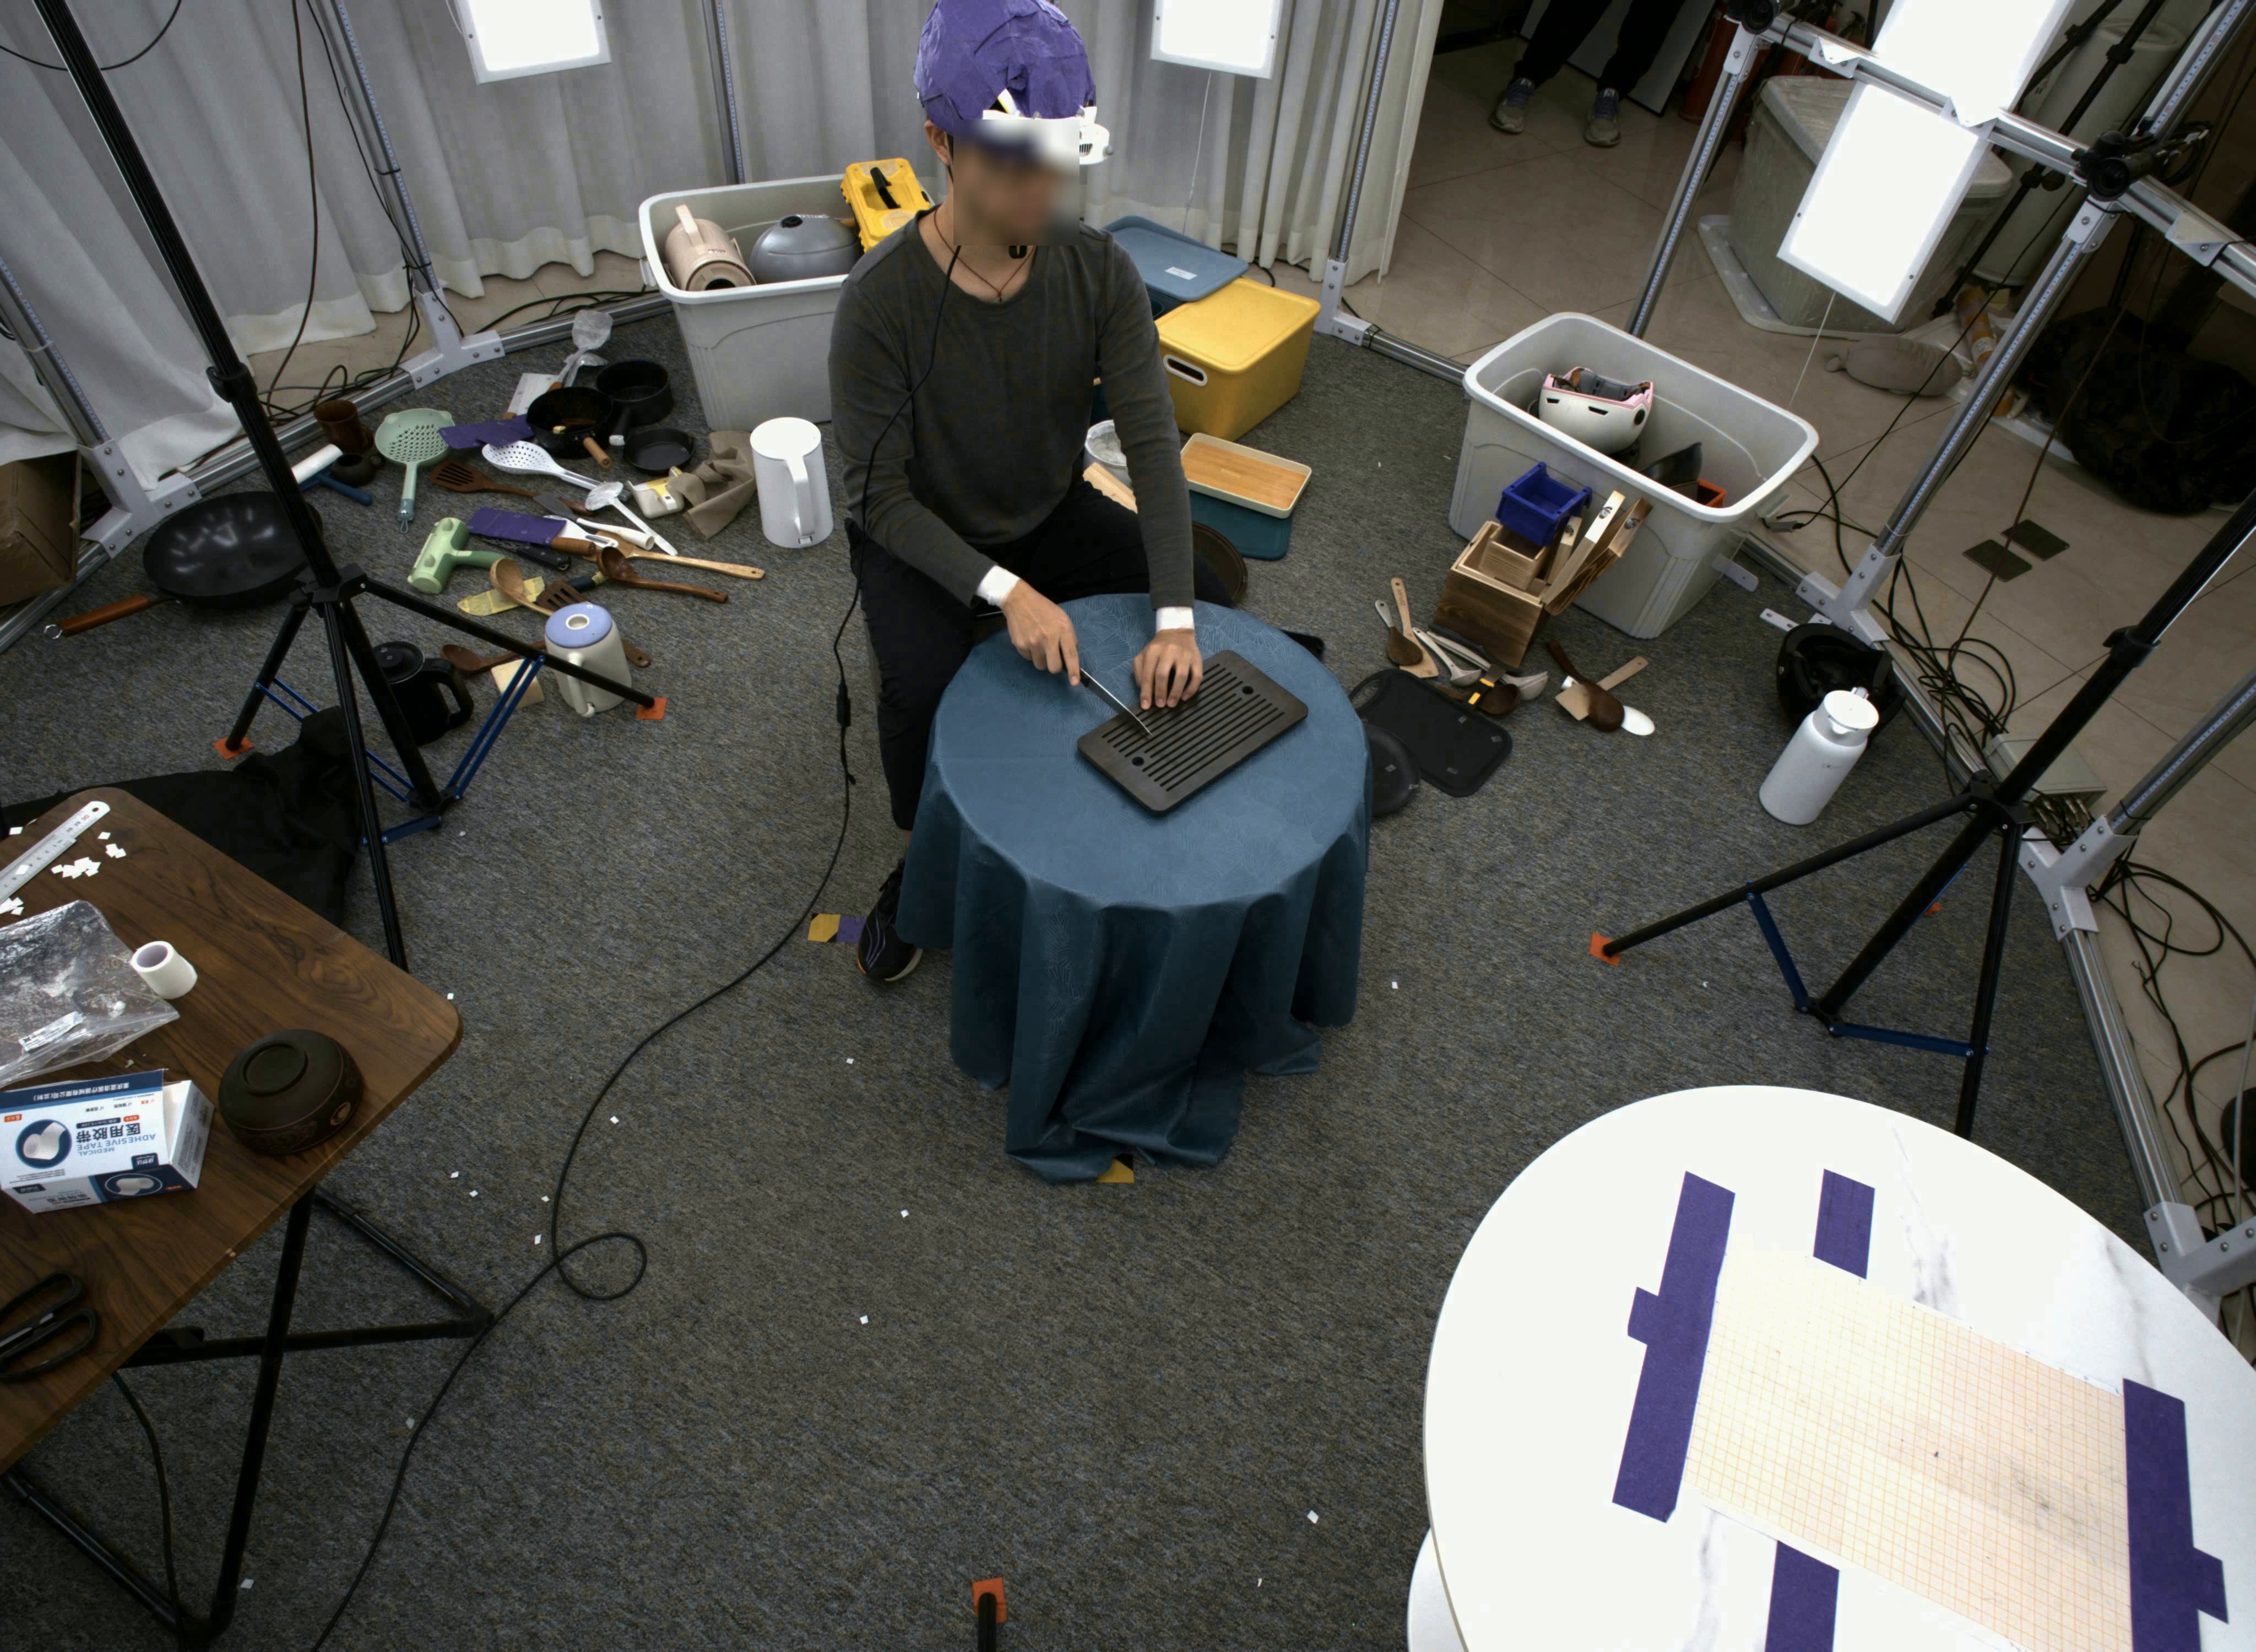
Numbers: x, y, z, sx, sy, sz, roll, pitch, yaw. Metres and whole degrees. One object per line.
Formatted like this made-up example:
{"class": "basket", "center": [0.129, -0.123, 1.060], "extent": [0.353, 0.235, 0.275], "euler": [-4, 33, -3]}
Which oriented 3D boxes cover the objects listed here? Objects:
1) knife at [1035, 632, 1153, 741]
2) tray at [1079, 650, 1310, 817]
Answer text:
{"class": "knife", "center": [-0.047, -0.197, 1.790], "extent": [0.016, 0.024, 0.241], "euler": [-29, 63, -36]}
{"class": "tray", "center": [0.094, -0.132, 1.777], "extent": [0.308, 0.018, 0.173], "euler": [-34, 58, -29]}
